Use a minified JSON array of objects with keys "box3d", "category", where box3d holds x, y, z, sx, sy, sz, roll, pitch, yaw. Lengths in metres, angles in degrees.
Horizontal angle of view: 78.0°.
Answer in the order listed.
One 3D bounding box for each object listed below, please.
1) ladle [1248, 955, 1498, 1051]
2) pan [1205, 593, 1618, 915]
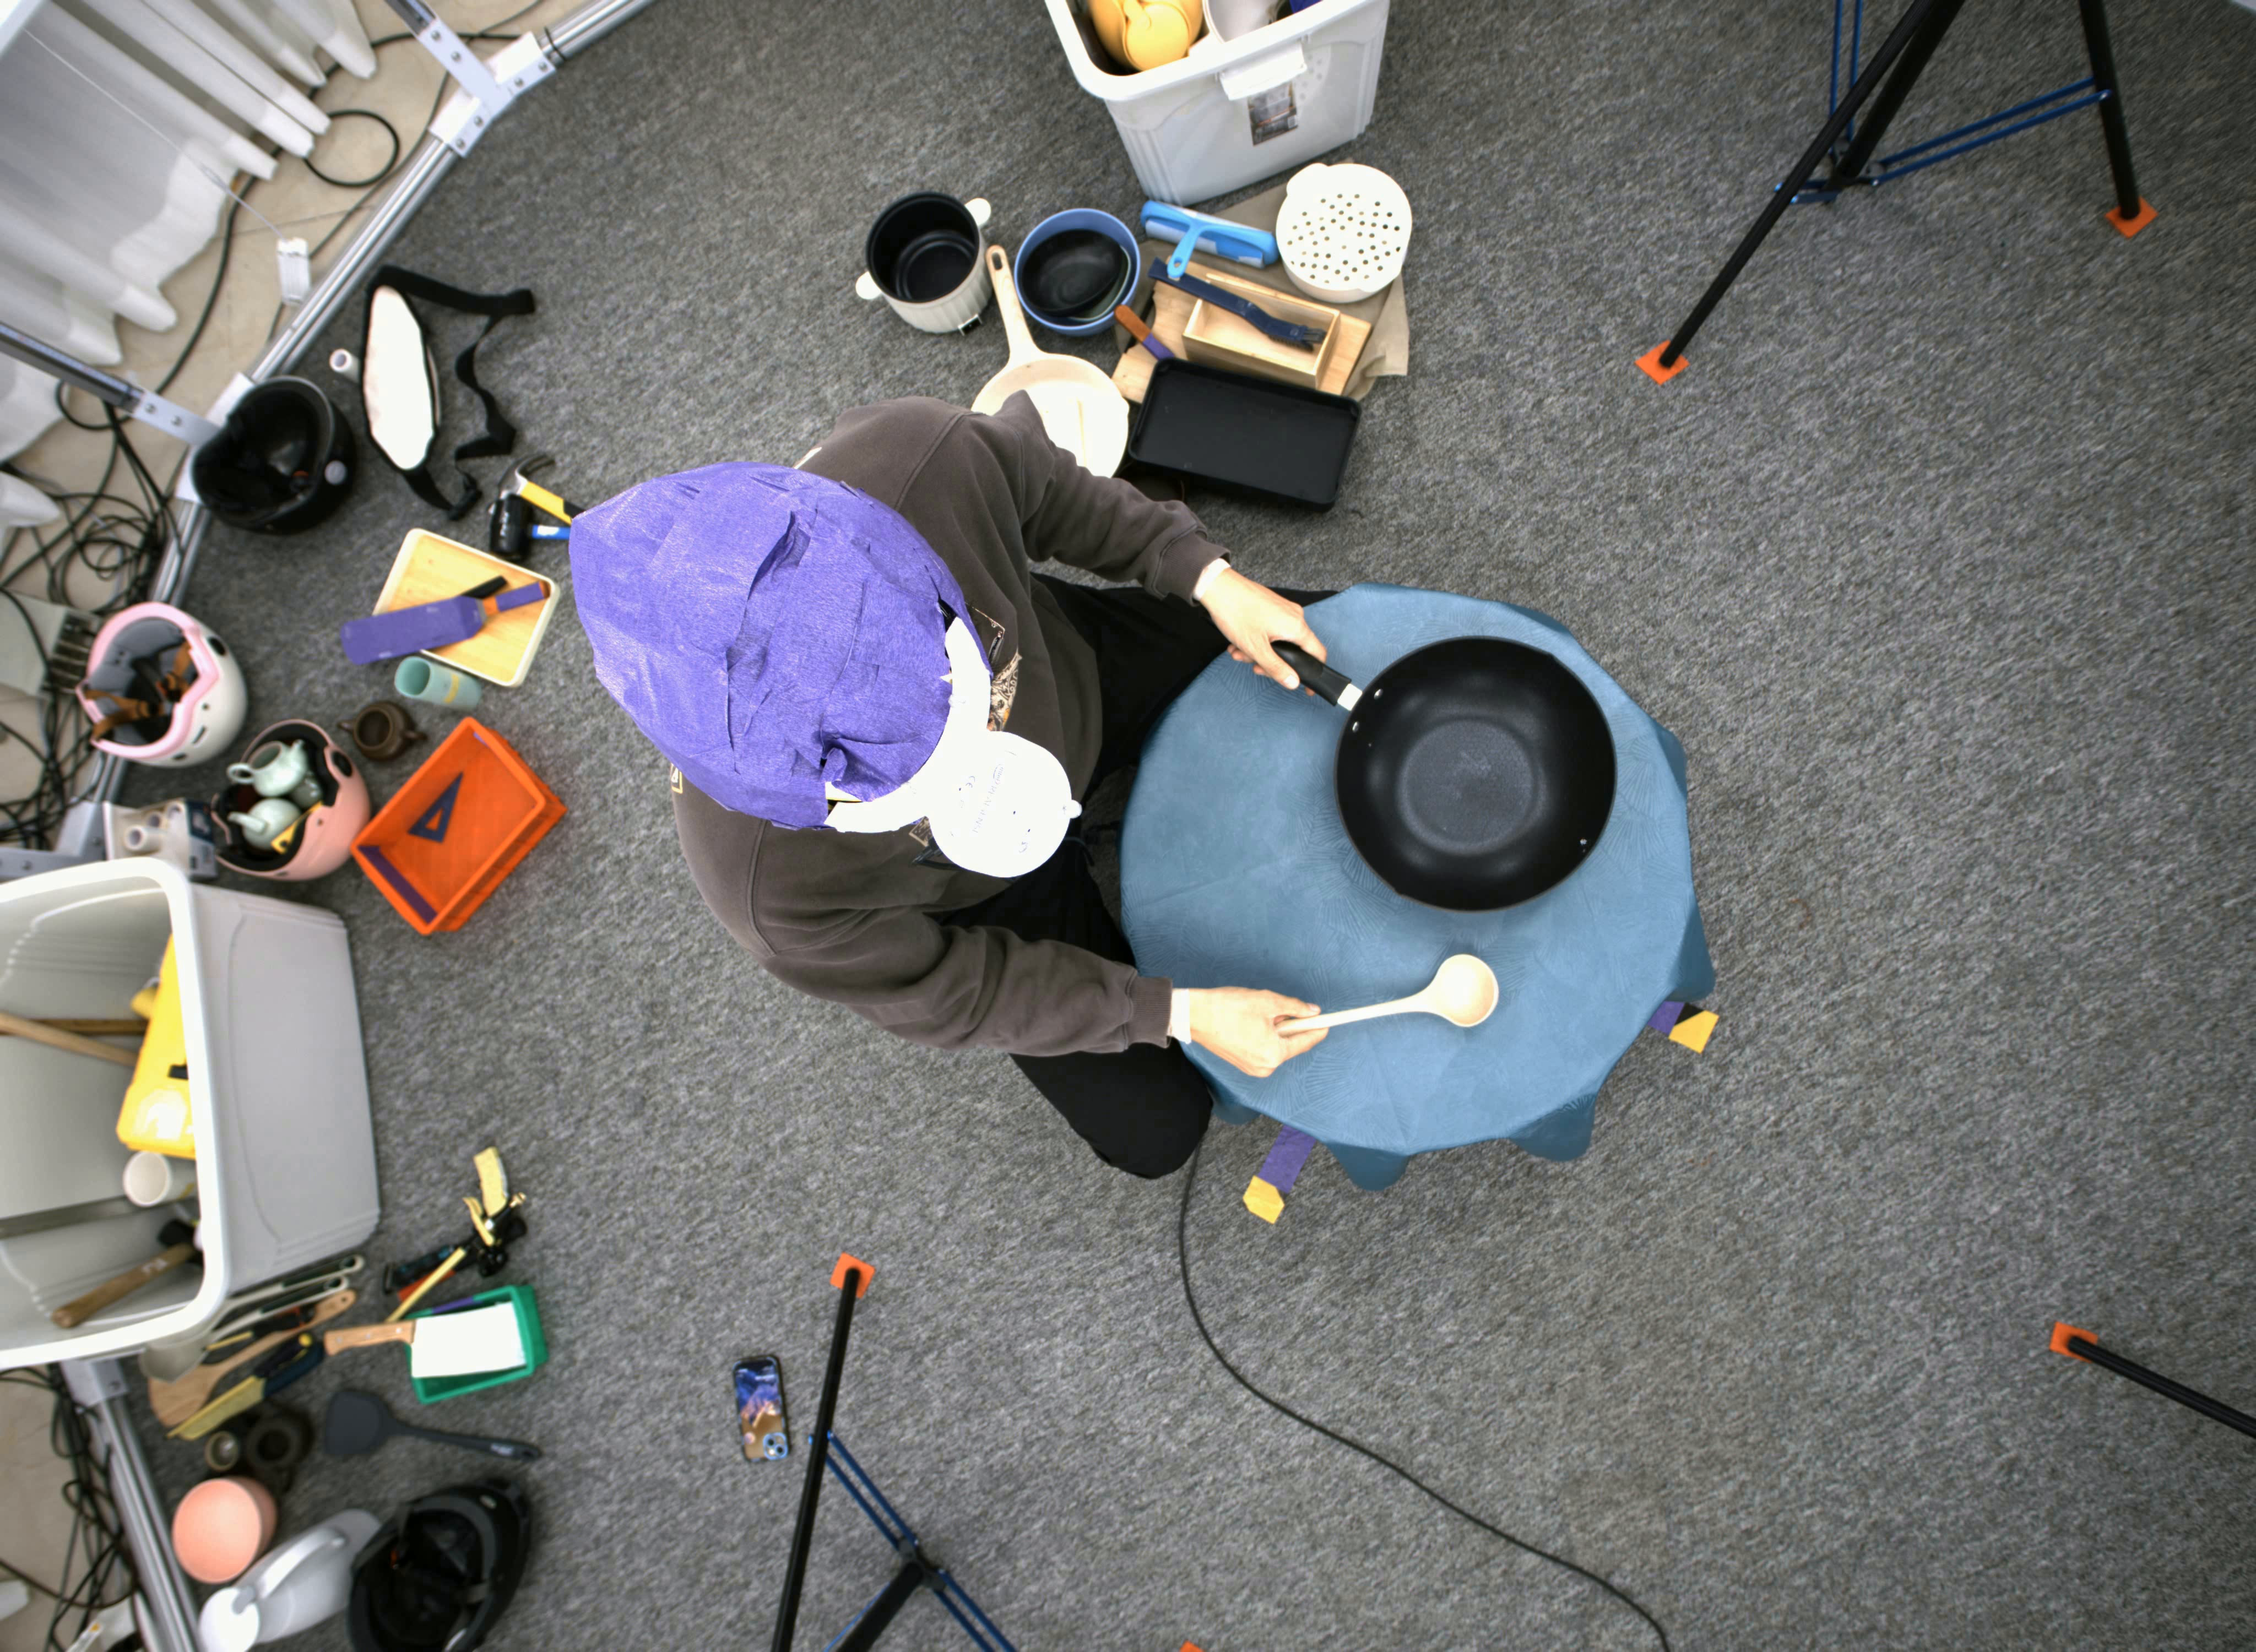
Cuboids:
[{"box3d":[0.247,0.183,1.371,0.253,0.074,0.071,-11,82,-15],"category":"ladle"},{"box3d":[0.276,-0.099,1.422,0.462,0.087,0.289,34,94,11],"category":"pan"}]
